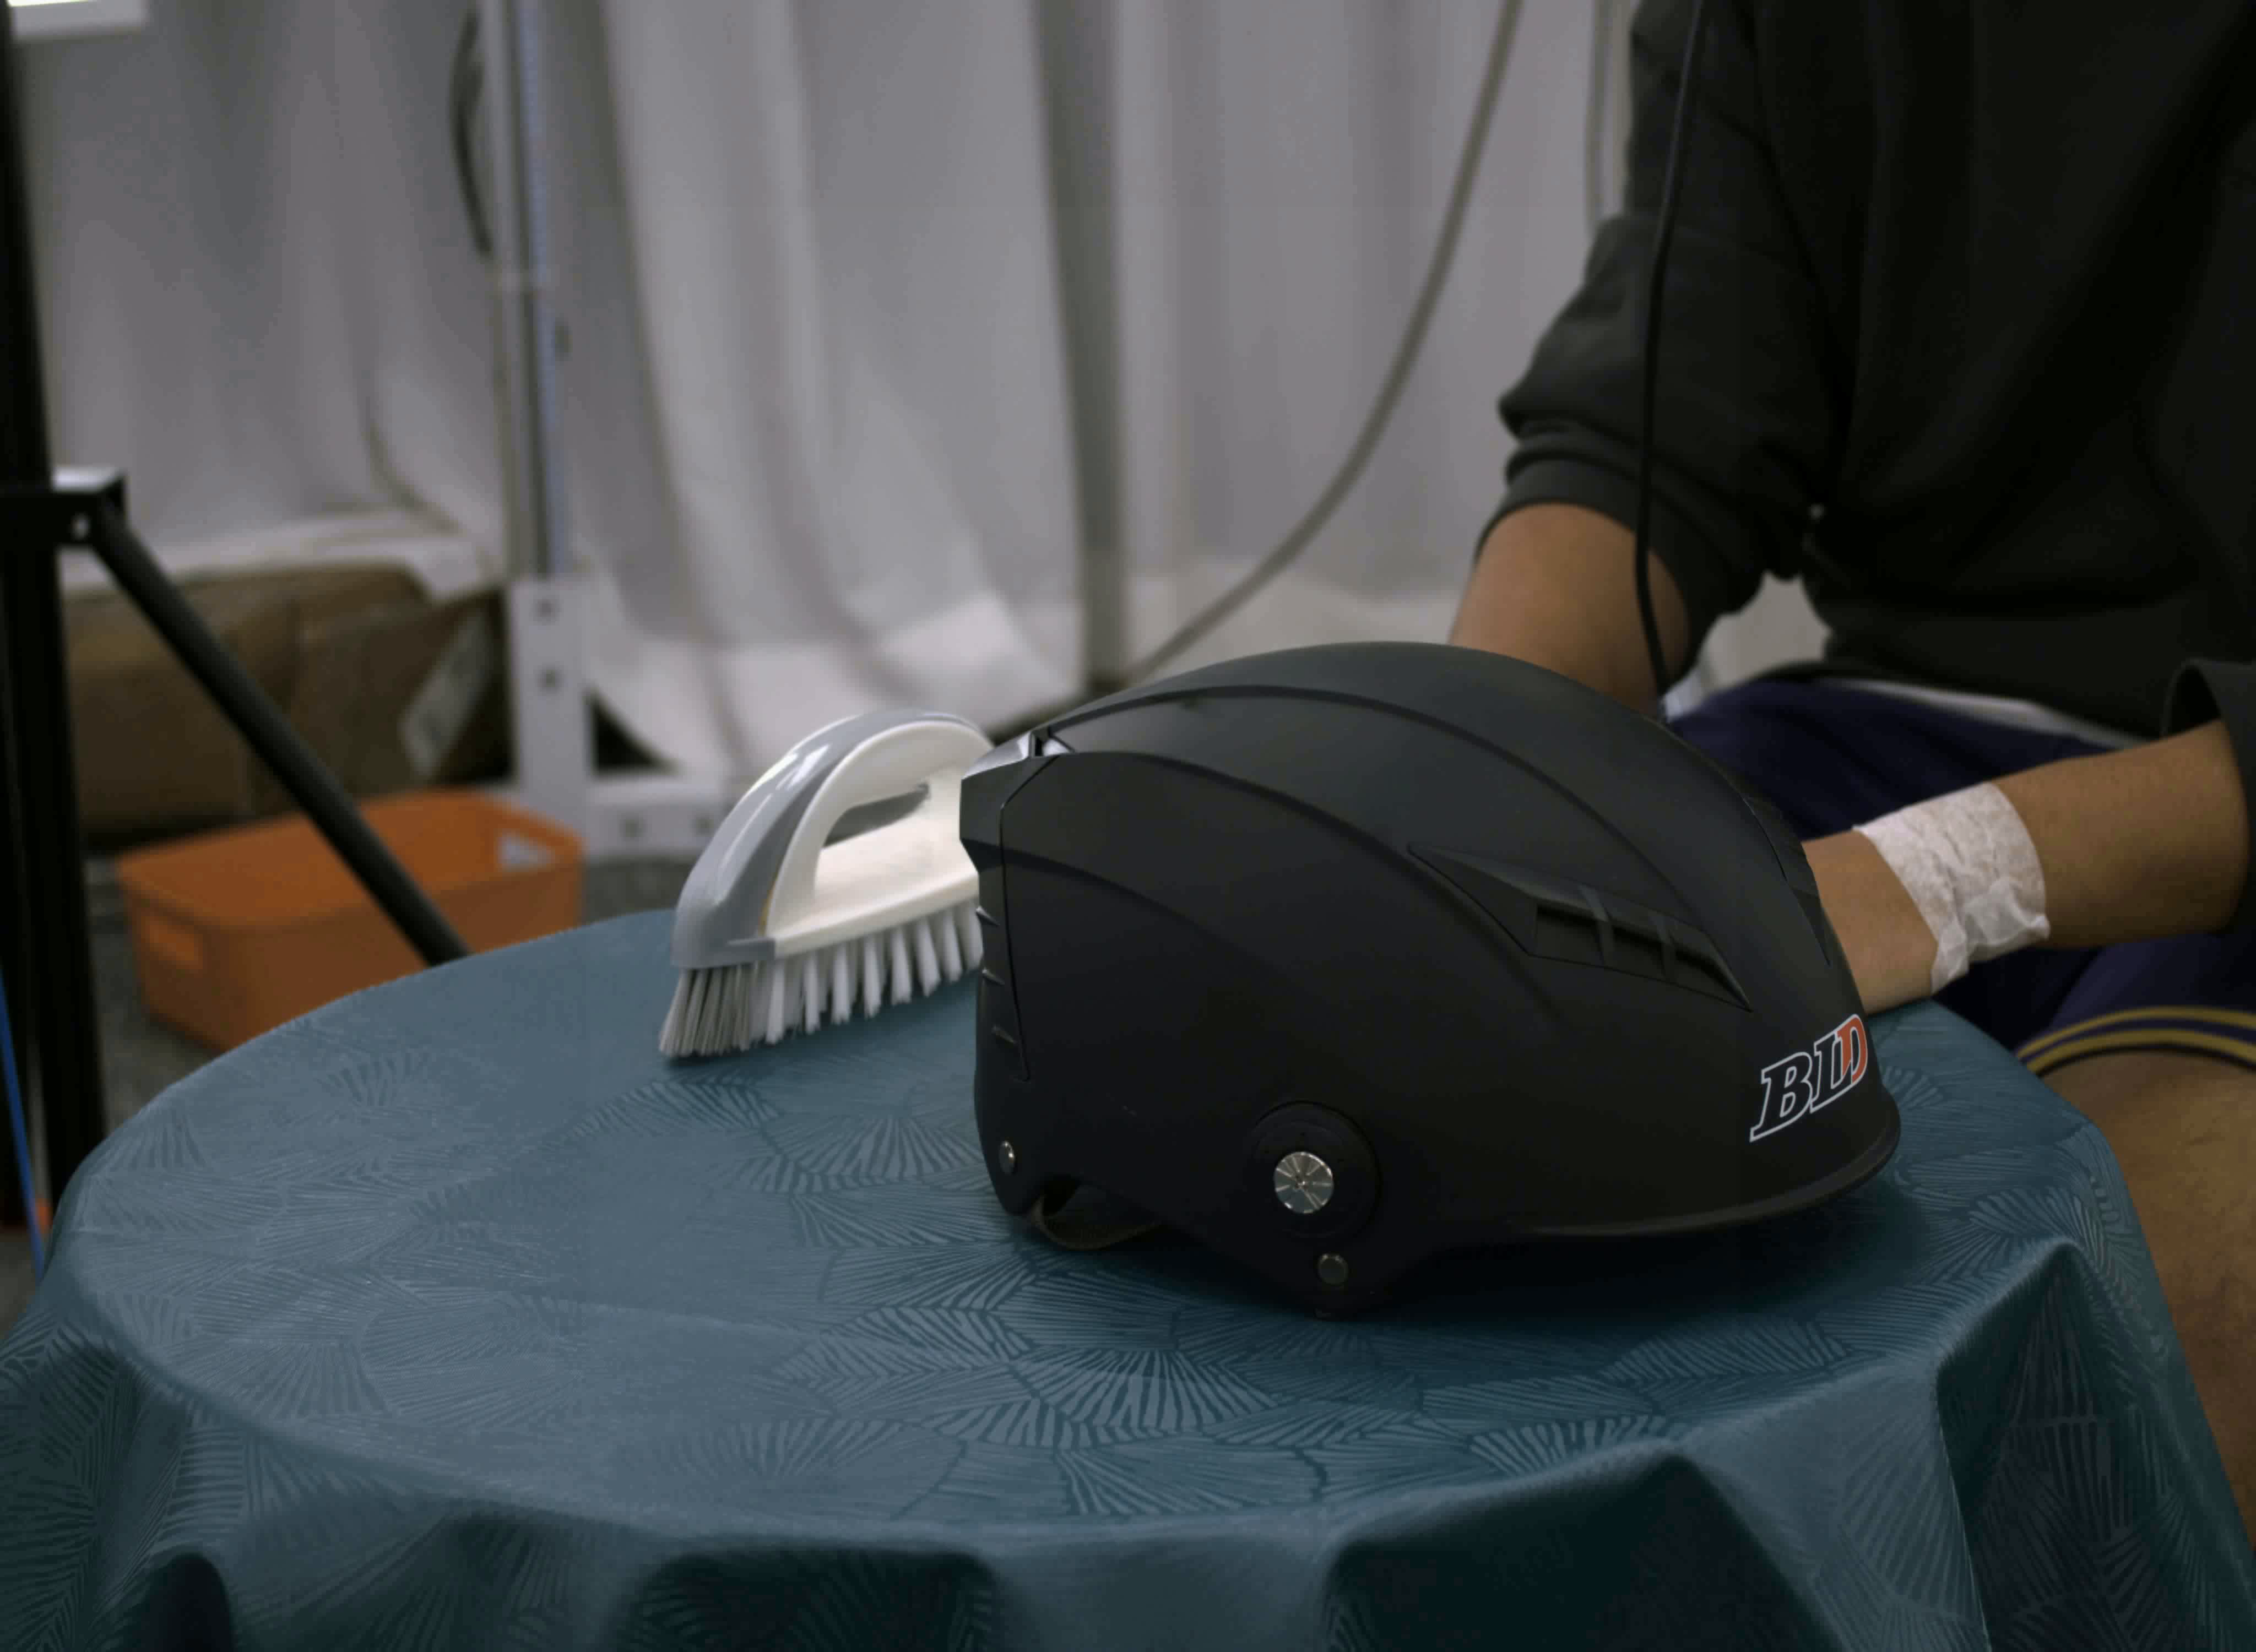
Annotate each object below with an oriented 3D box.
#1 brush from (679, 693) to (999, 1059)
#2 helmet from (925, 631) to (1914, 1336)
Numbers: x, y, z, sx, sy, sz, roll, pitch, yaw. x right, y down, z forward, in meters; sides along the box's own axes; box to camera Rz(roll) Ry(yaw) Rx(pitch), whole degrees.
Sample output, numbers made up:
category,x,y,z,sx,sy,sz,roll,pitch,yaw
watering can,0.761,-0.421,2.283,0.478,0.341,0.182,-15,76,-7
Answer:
category,x,y,z,sx,sy,sz,roll,pitch,yaw
brush,-0.093,0.012,1.749,0.063,0.094,0.172,7,20,35
helmet,0.080,0.032,1.527,0.282,0.172,0.242,4,17,37
